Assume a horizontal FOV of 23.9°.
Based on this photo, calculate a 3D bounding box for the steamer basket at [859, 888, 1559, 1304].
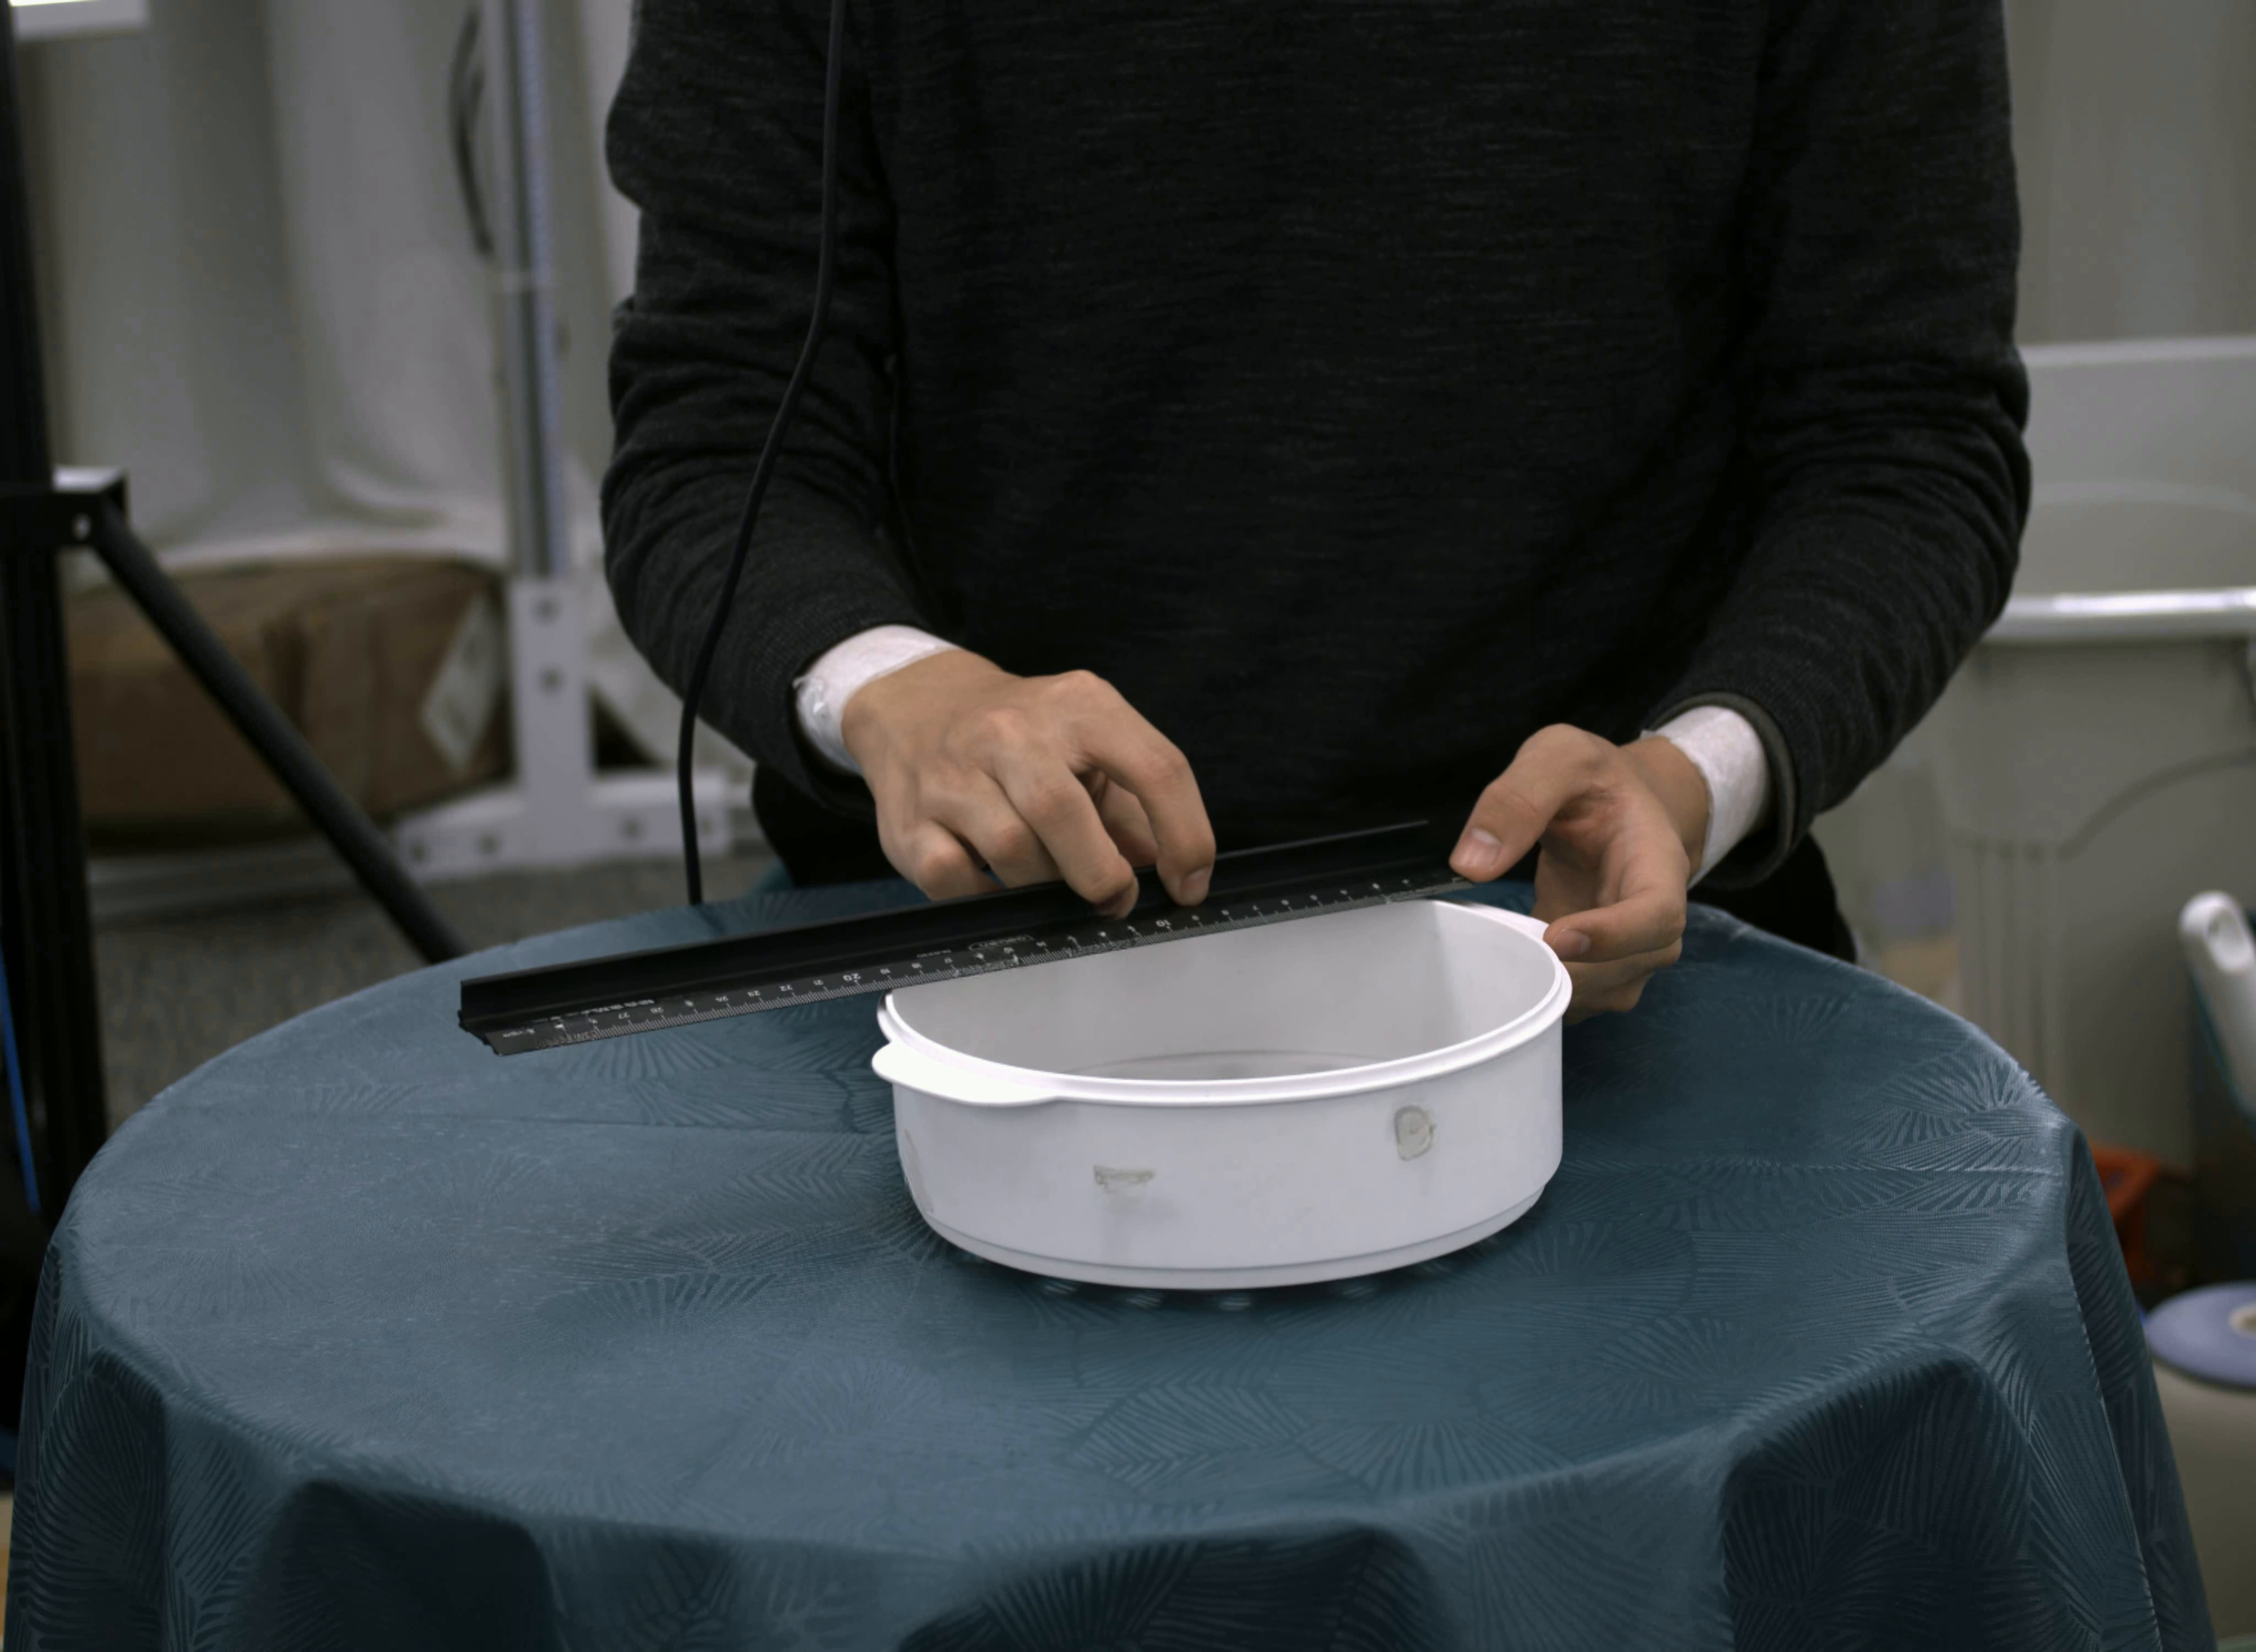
[{"bbox_3d":[0.025,0.077,1.536,0.225,0.069,0.206,-17,21,-37],"label":"steamer basket"}]

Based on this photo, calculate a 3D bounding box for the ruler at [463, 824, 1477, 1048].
[{"bbox_3d":[-0.042,0.031,1.561,0.306,0.017,0.040,-9,16,-21],"label":"ruler"}]
